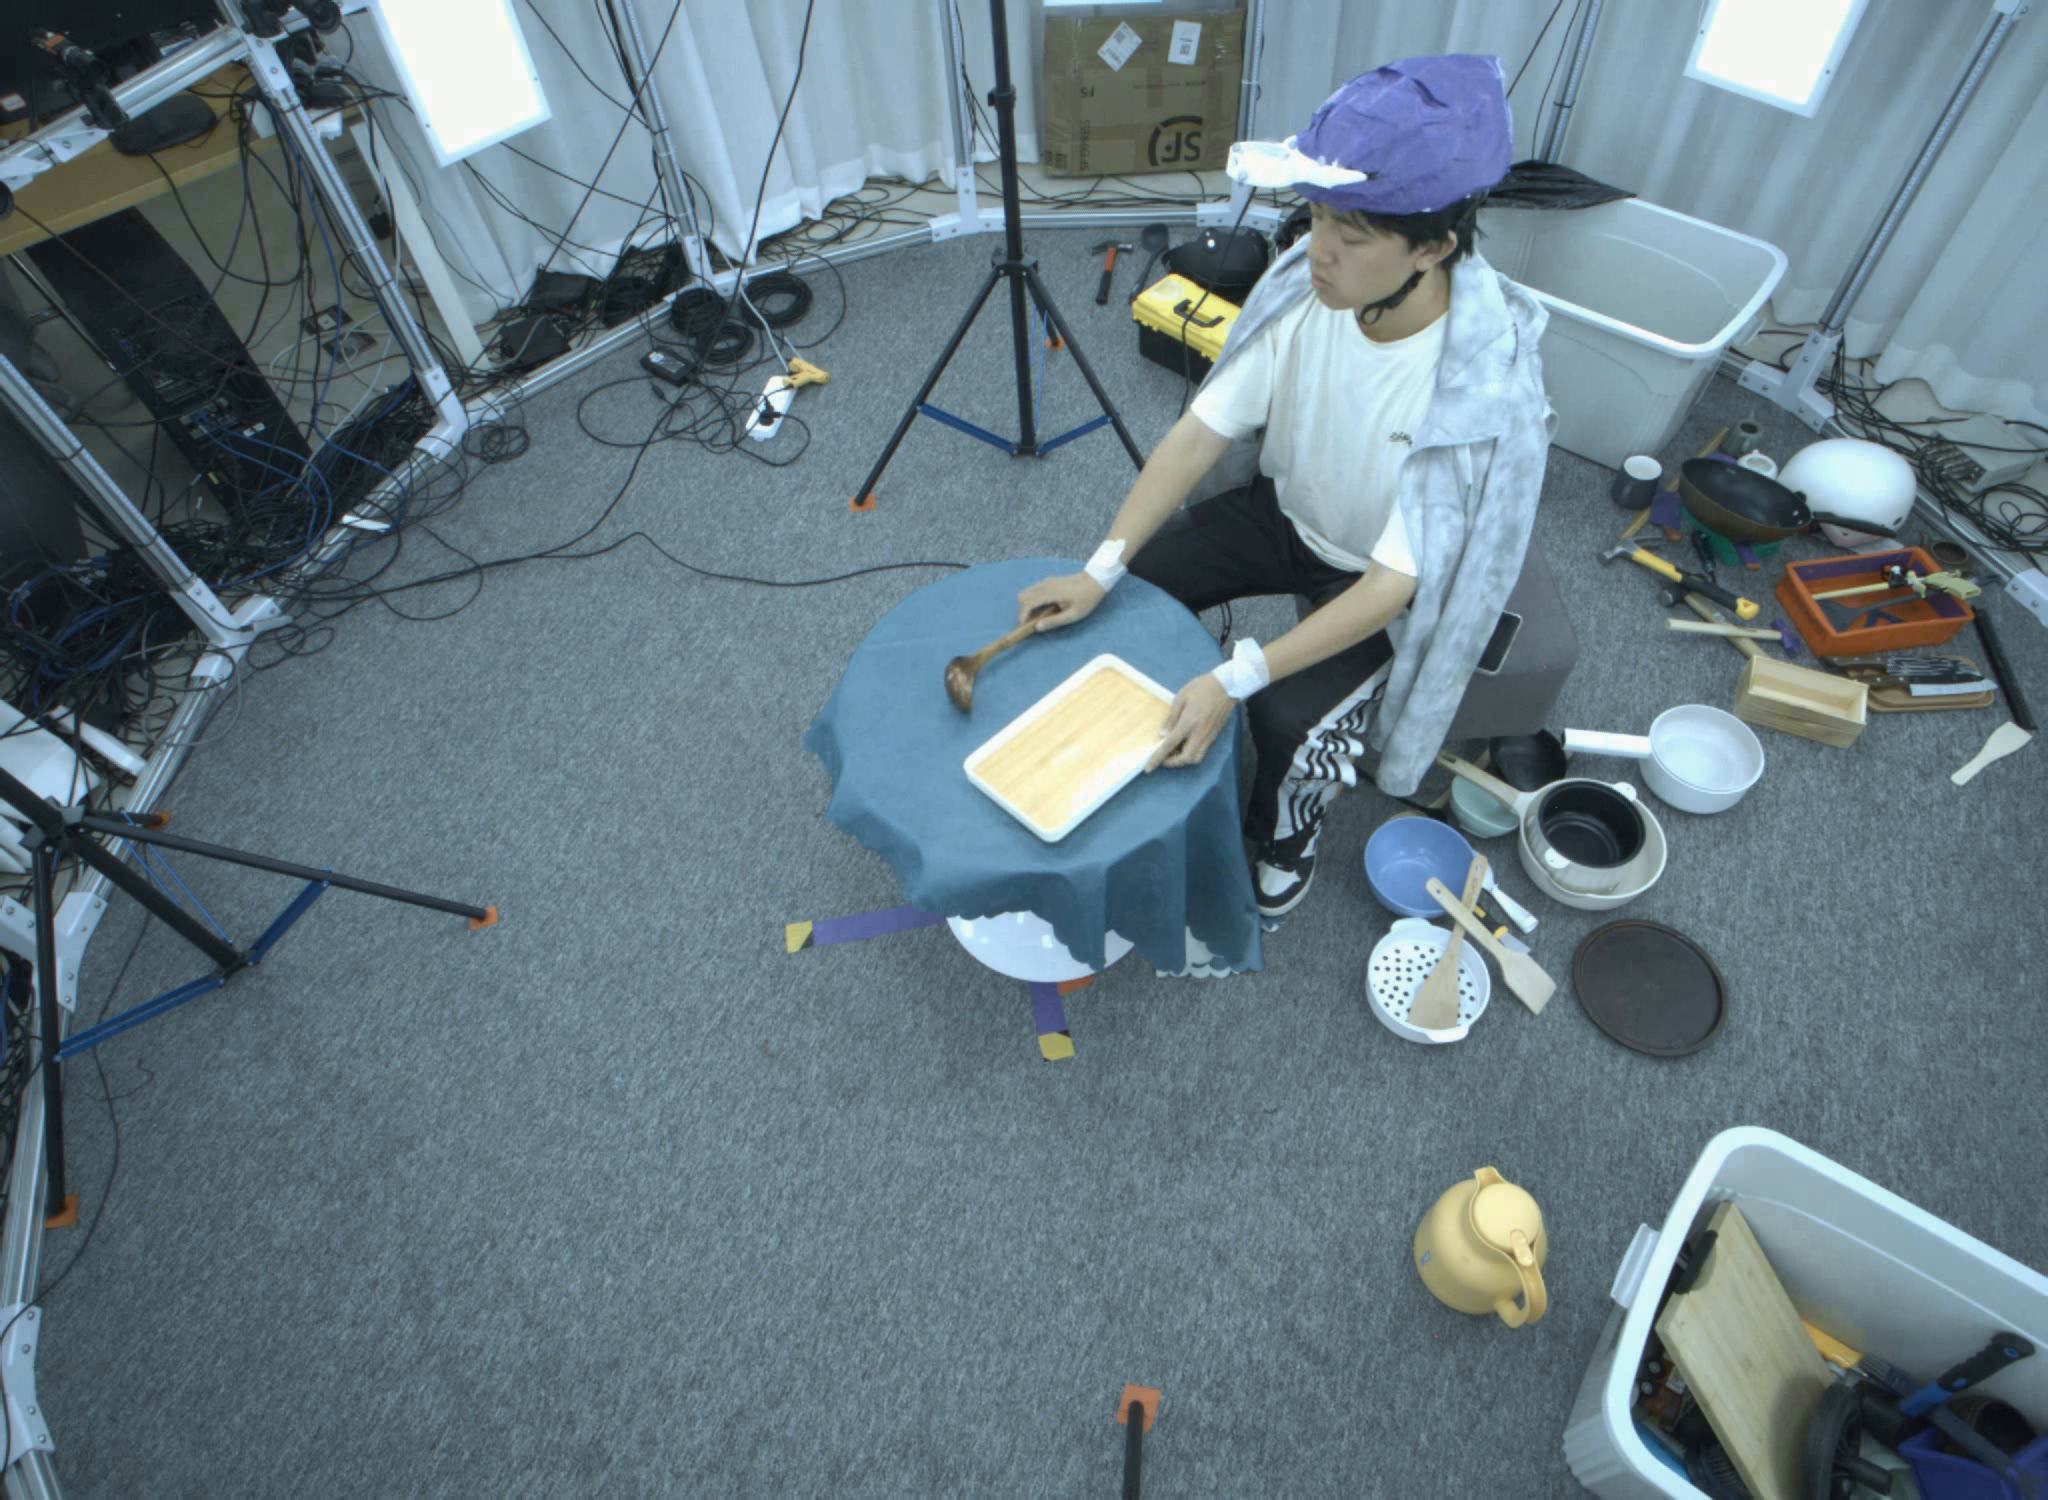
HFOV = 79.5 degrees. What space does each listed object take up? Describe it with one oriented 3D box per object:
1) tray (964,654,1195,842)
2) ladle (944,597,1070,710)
[{"bbox_3d":[0.081,-0.009,1.766,0.302,0.028,0.187,-38,56,-22],"label":"tray"},{"bbox_3d":[-0.014,-0.154,1.859,0.276,0.083,0.075,-34,46,-26],"label":"ladle"}]
